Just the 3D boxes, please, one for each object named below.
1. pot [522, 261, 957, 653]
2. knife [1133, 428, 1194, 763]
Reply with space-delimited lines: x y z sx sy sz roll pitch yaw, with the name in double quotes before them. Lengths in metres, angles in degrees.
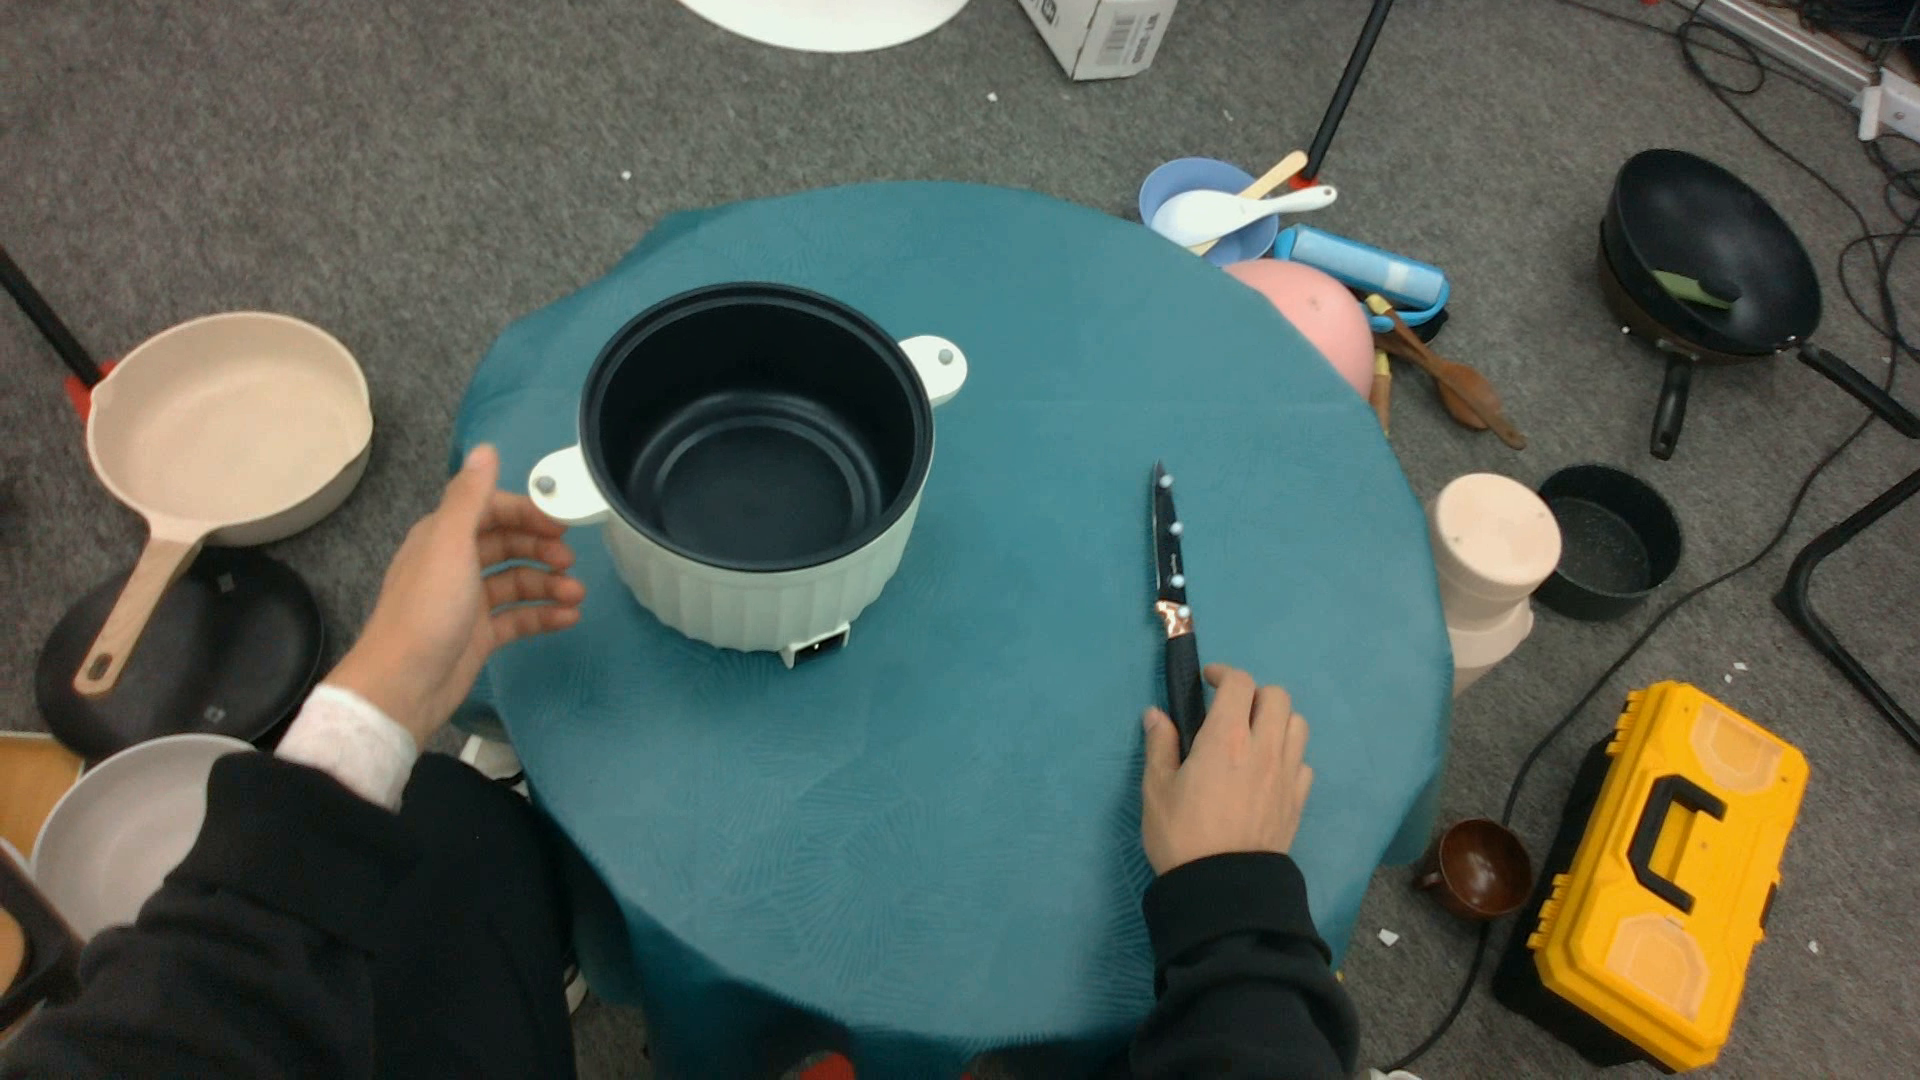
"pot" -0.122 -0.045 0.765 0.241 0.142 0.191 -22 71 -22
"knife" 0.124 0.028 0.842 0.026 0.017 0.226 11 59 -21
